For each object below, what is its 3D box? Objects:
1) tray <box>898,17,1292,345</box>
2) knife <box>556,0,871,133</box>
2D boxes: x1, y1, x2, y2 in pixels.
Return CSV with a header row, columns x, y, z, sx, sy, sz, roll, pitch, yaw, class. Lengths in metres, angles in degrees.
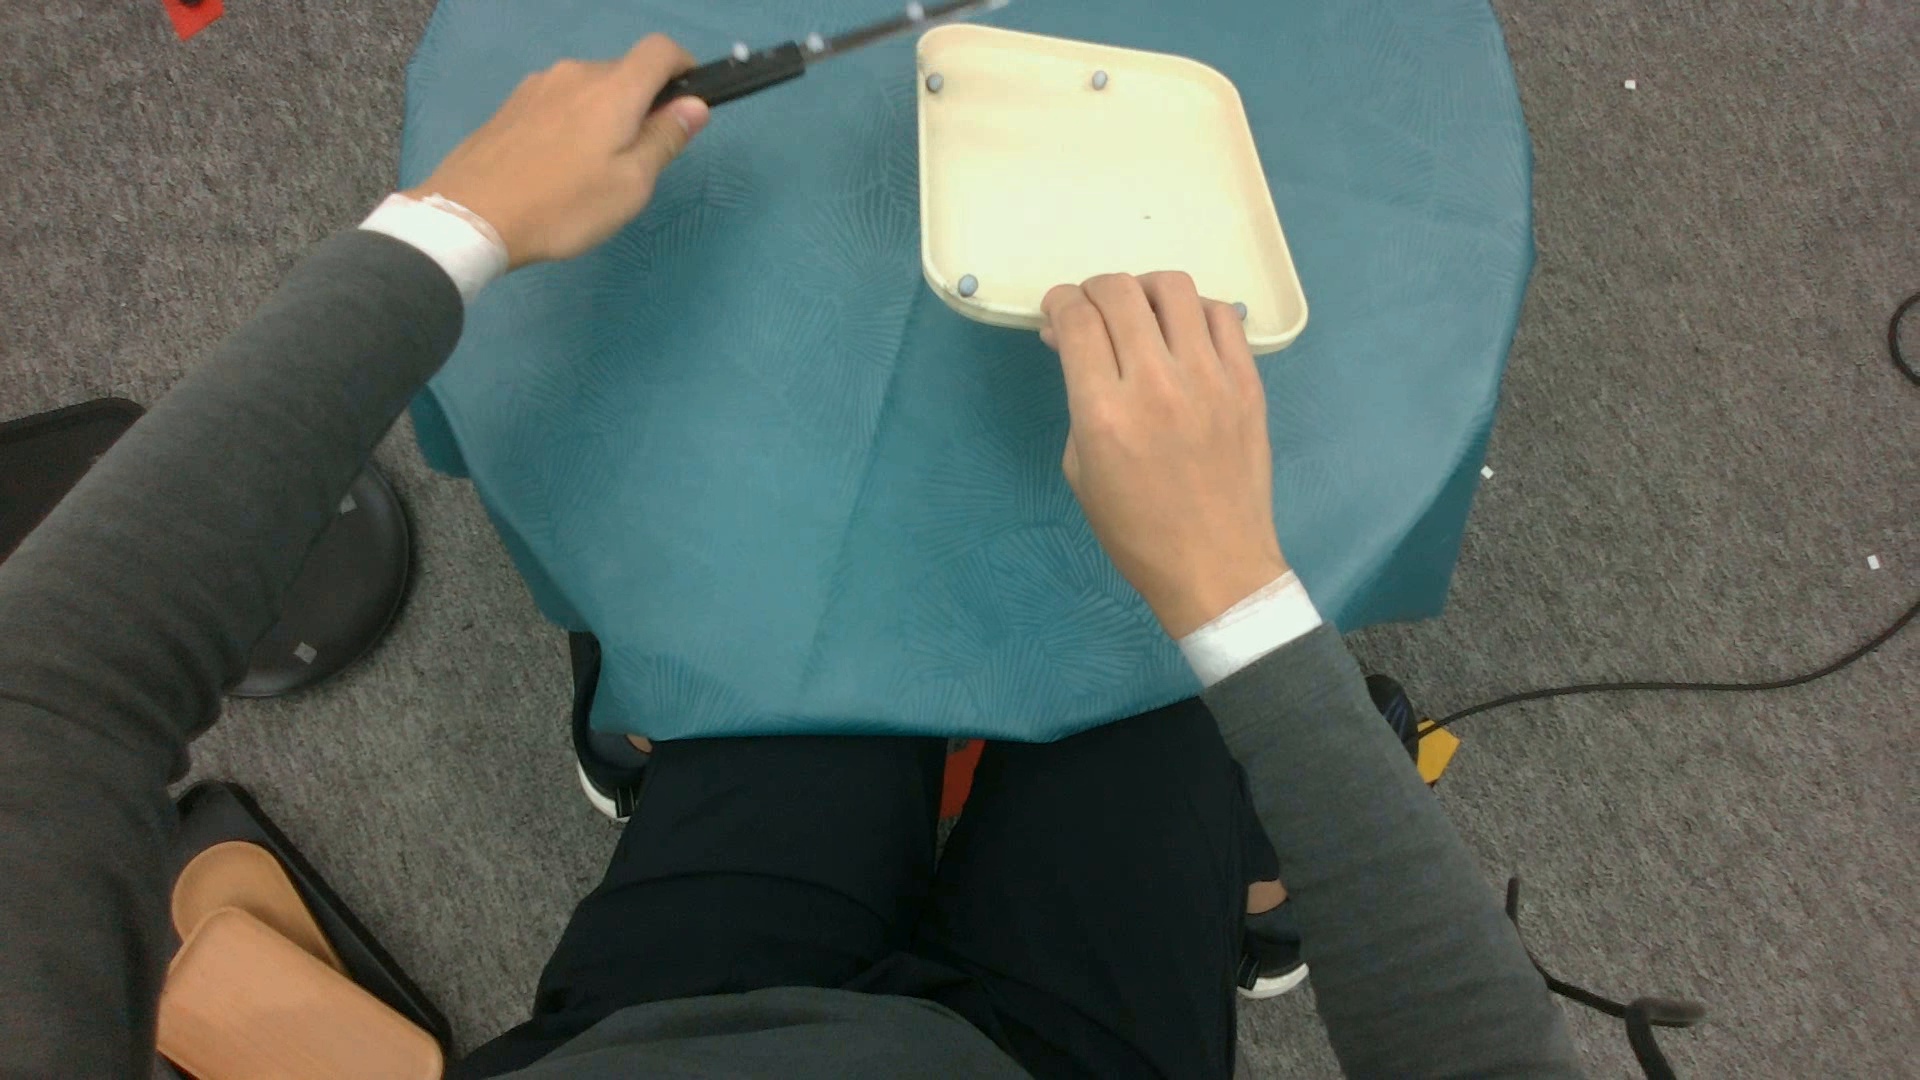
x,y,z,sx,sy,sz,roll,pitch,yaw,class
0.056,-0.174,0.652,0.171,0.017,0.241,6,46,-10,tray
-0.076,-0.239,0.634,0.238,0.016,0.024,-22,45,2,knife
